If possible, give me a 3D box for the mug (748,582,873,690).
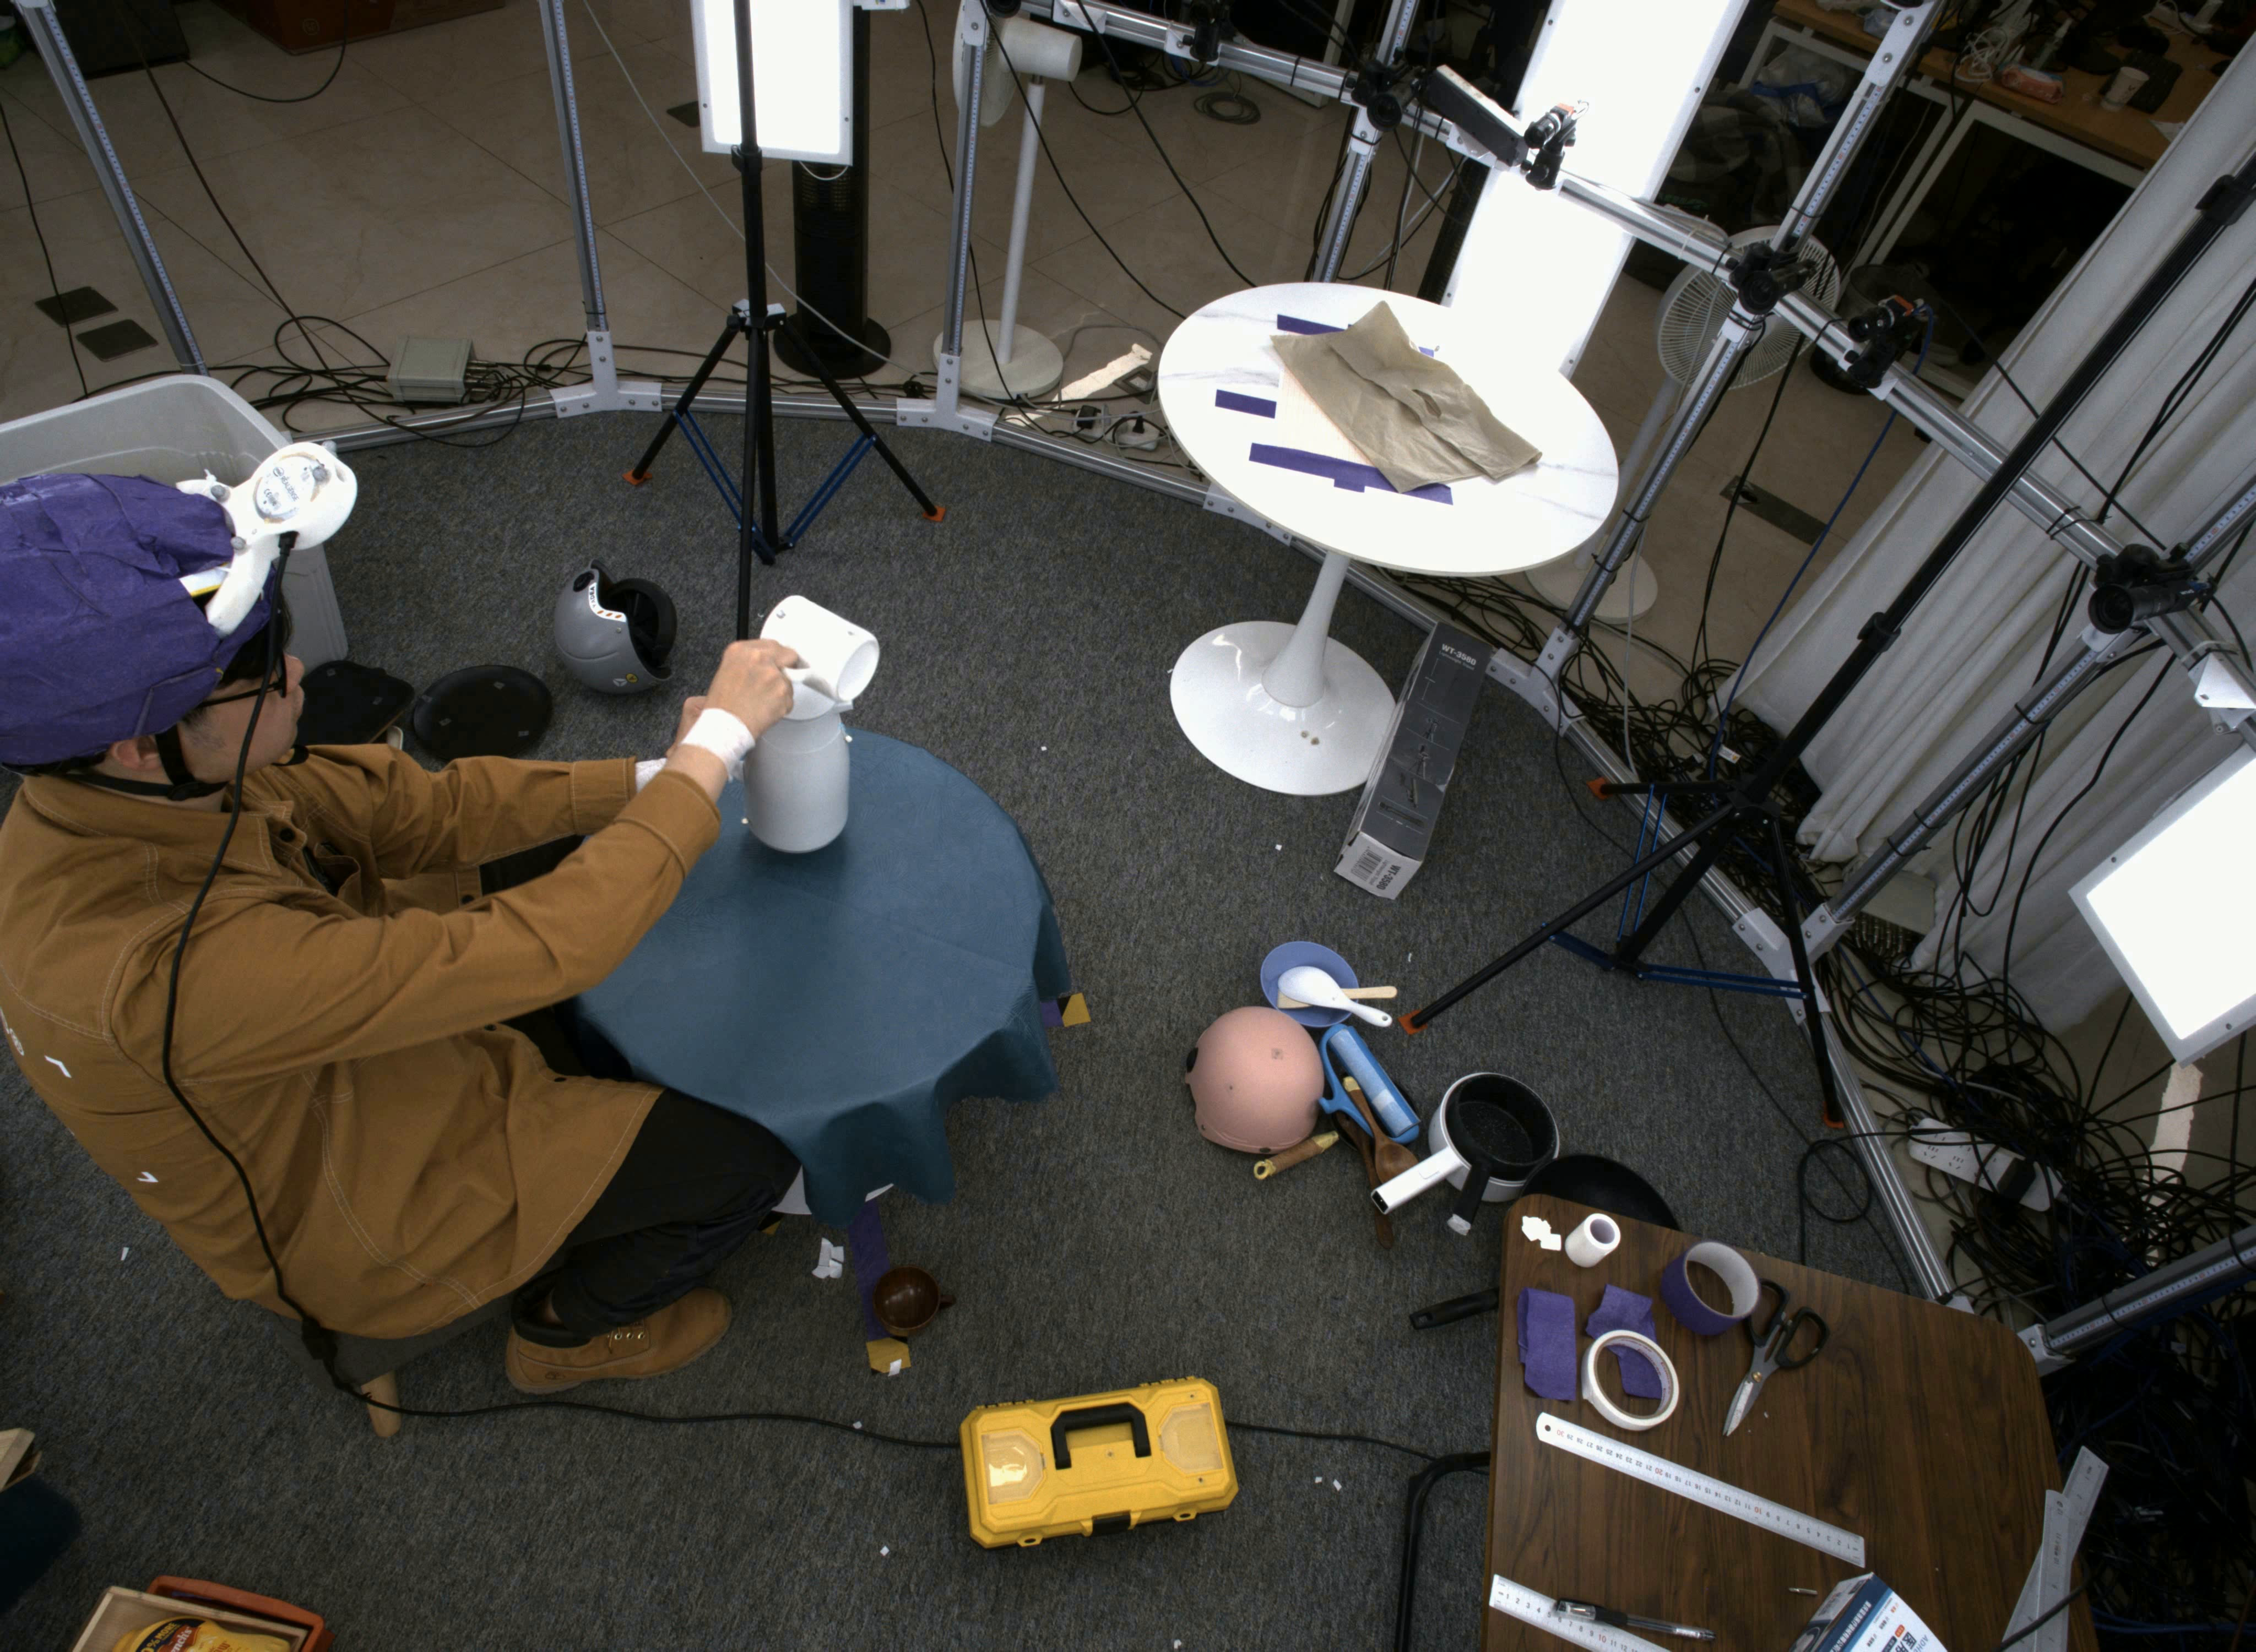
[{"bbox_3d":[-0.345,-0.197,1.375,0.099,0.087,0.118,25,32,15],"label":"mug"}]

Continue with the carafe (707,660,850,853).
[{"bbox_3d":[-0.424,-0.092,1.573,0.168,0.253,0.130,-3,55,-16],"label":"carafe"}]
